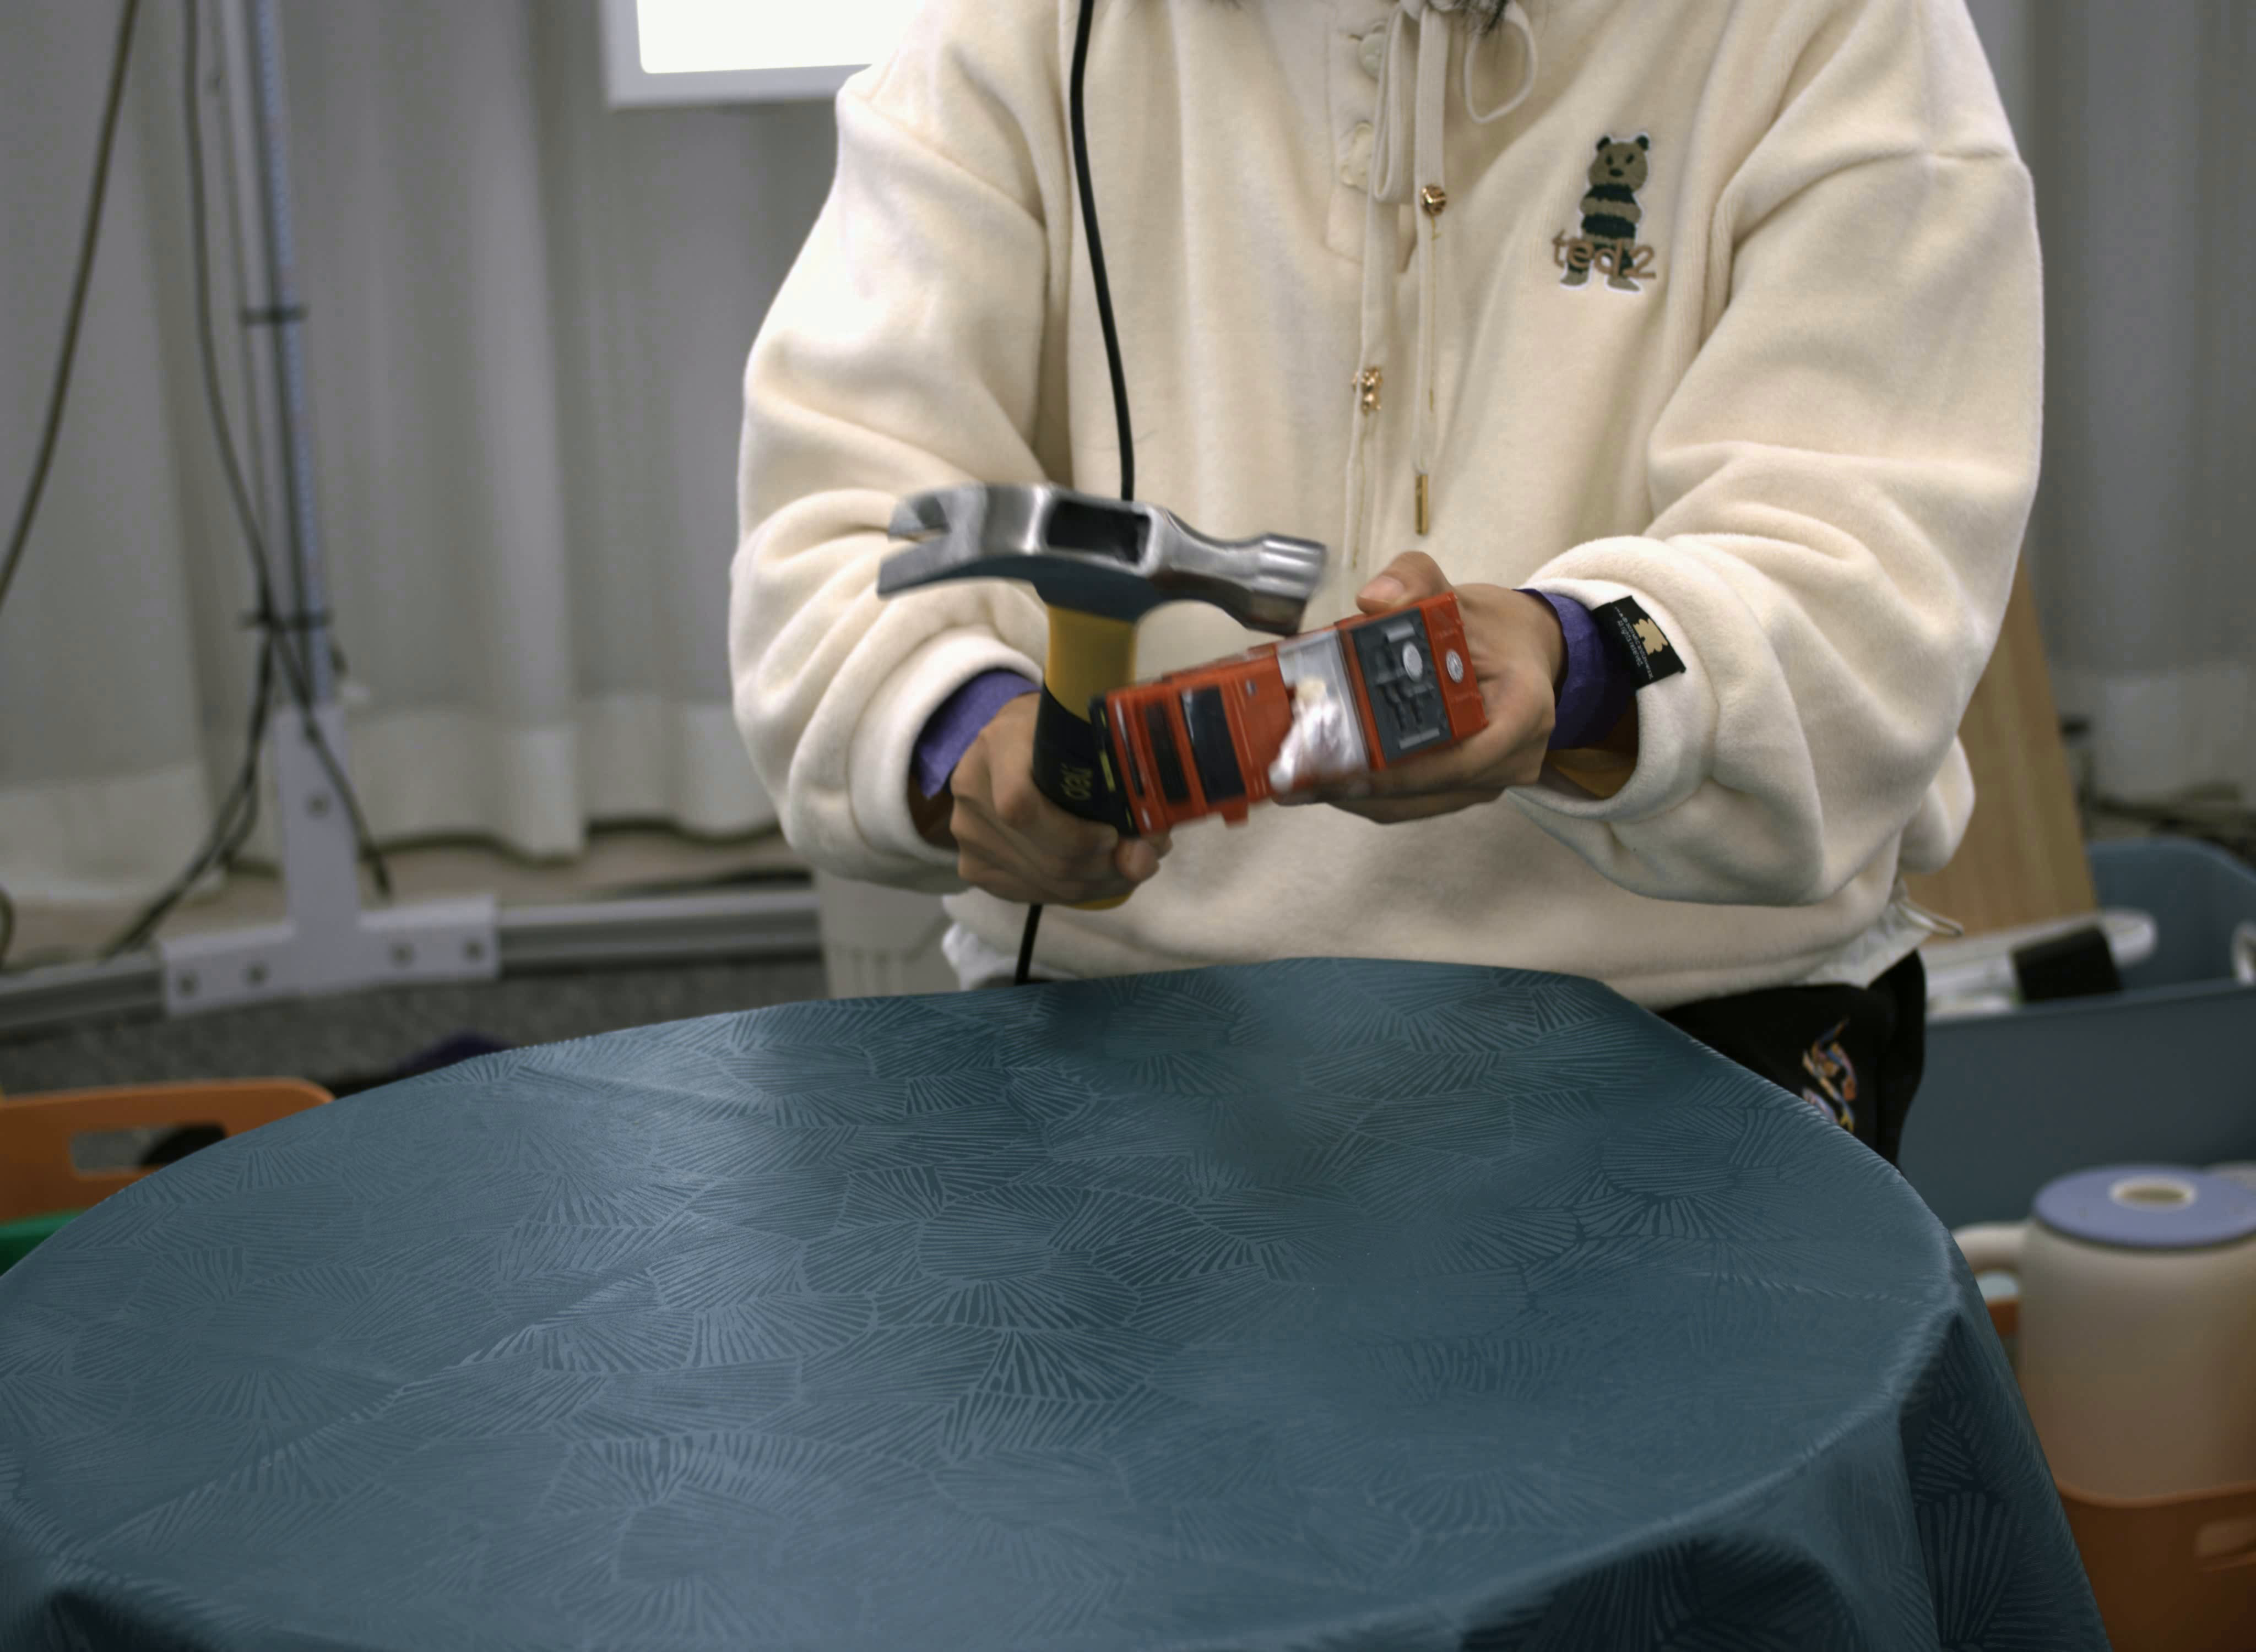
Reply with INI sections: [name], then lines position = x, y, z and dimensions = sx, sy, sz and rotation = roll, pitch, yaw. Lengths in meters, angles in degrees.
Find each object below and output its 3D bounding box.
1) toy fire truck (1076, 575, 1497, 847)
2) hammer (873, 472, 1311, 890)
[toy fire truck]
position = 0.049, -0.035, 1.632
dimensions = 0.070, 0.054, 0.168
rotation = -14, 3, 31
[hammer]
position = -0.013, -0.042, 1.781
dimensions = 0.131, 0.032, 0.336
rotation = 12, -17, 3
